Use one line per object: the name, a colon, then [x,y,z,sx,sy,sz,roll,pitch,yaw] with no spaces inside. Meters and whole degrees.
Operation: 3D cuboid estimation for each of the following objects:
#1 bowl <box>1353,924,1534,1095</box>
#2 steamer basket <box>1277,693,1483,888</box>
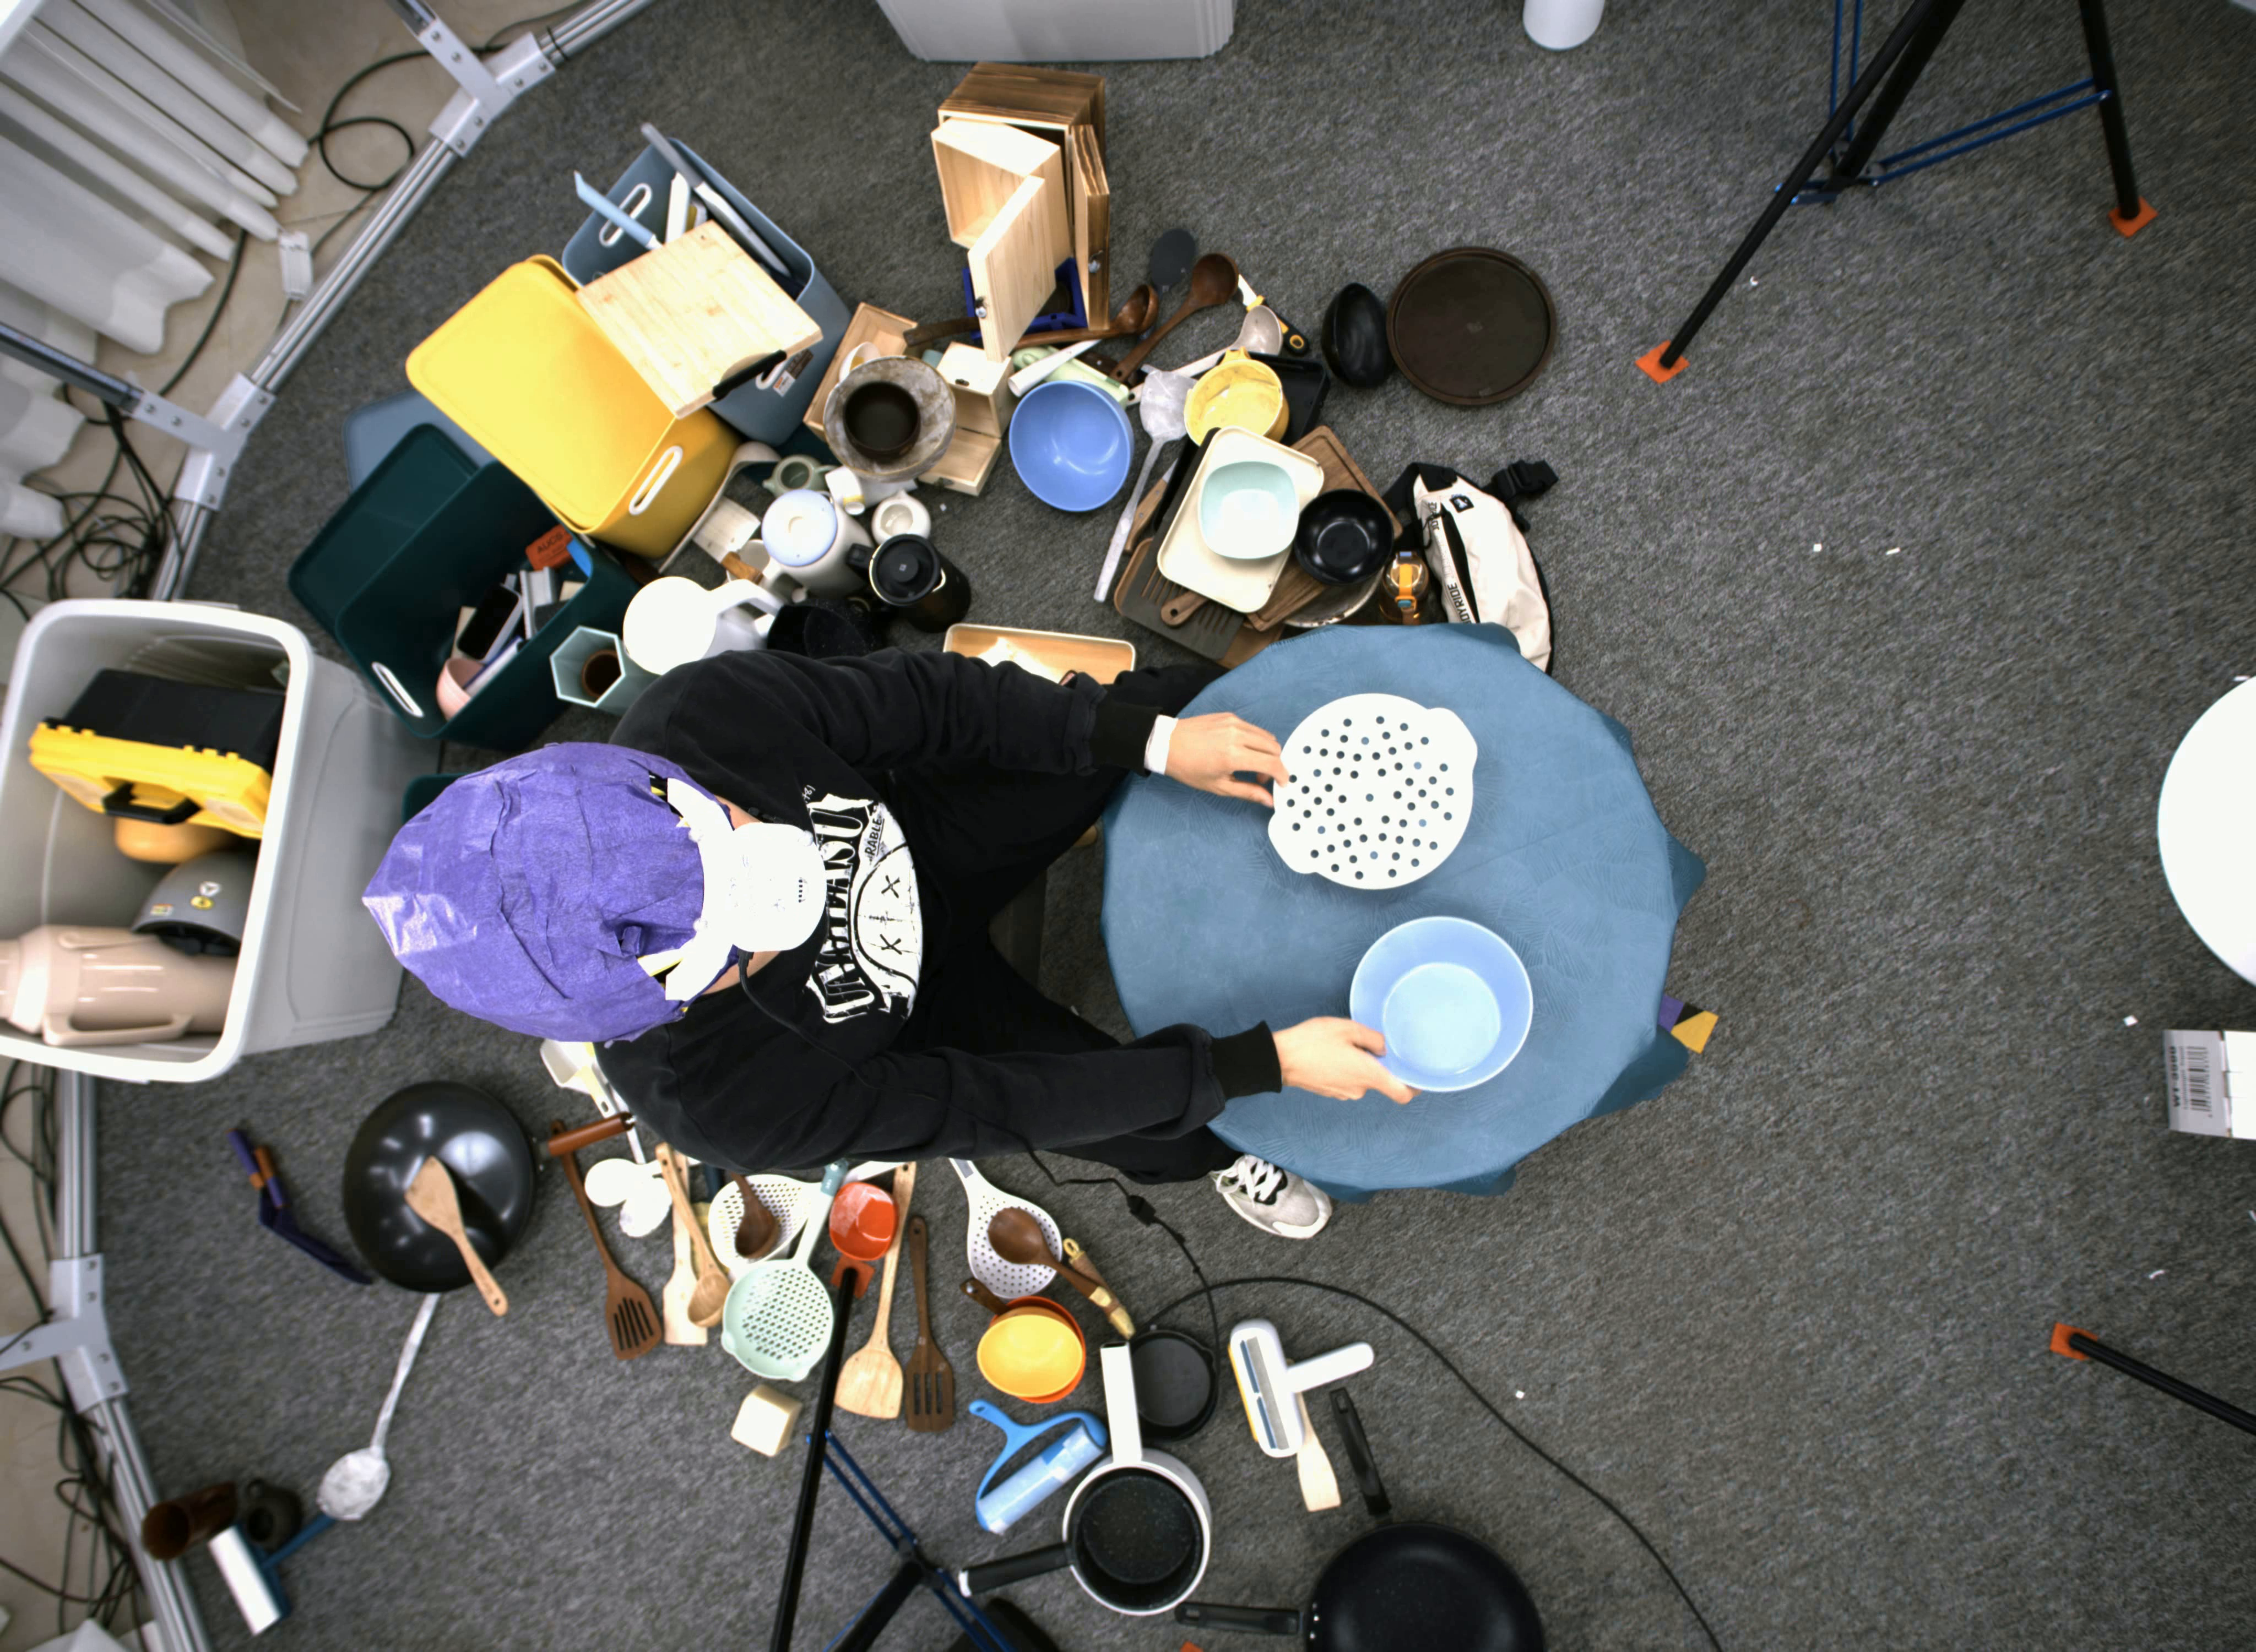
bowl: [0.315,0.189,1.386,0.177,0.071,0.172,-5,67,11]
steamer basket: [0.260,-0.035,1.437,0.231,0.069,0.201,-35,82,2]
